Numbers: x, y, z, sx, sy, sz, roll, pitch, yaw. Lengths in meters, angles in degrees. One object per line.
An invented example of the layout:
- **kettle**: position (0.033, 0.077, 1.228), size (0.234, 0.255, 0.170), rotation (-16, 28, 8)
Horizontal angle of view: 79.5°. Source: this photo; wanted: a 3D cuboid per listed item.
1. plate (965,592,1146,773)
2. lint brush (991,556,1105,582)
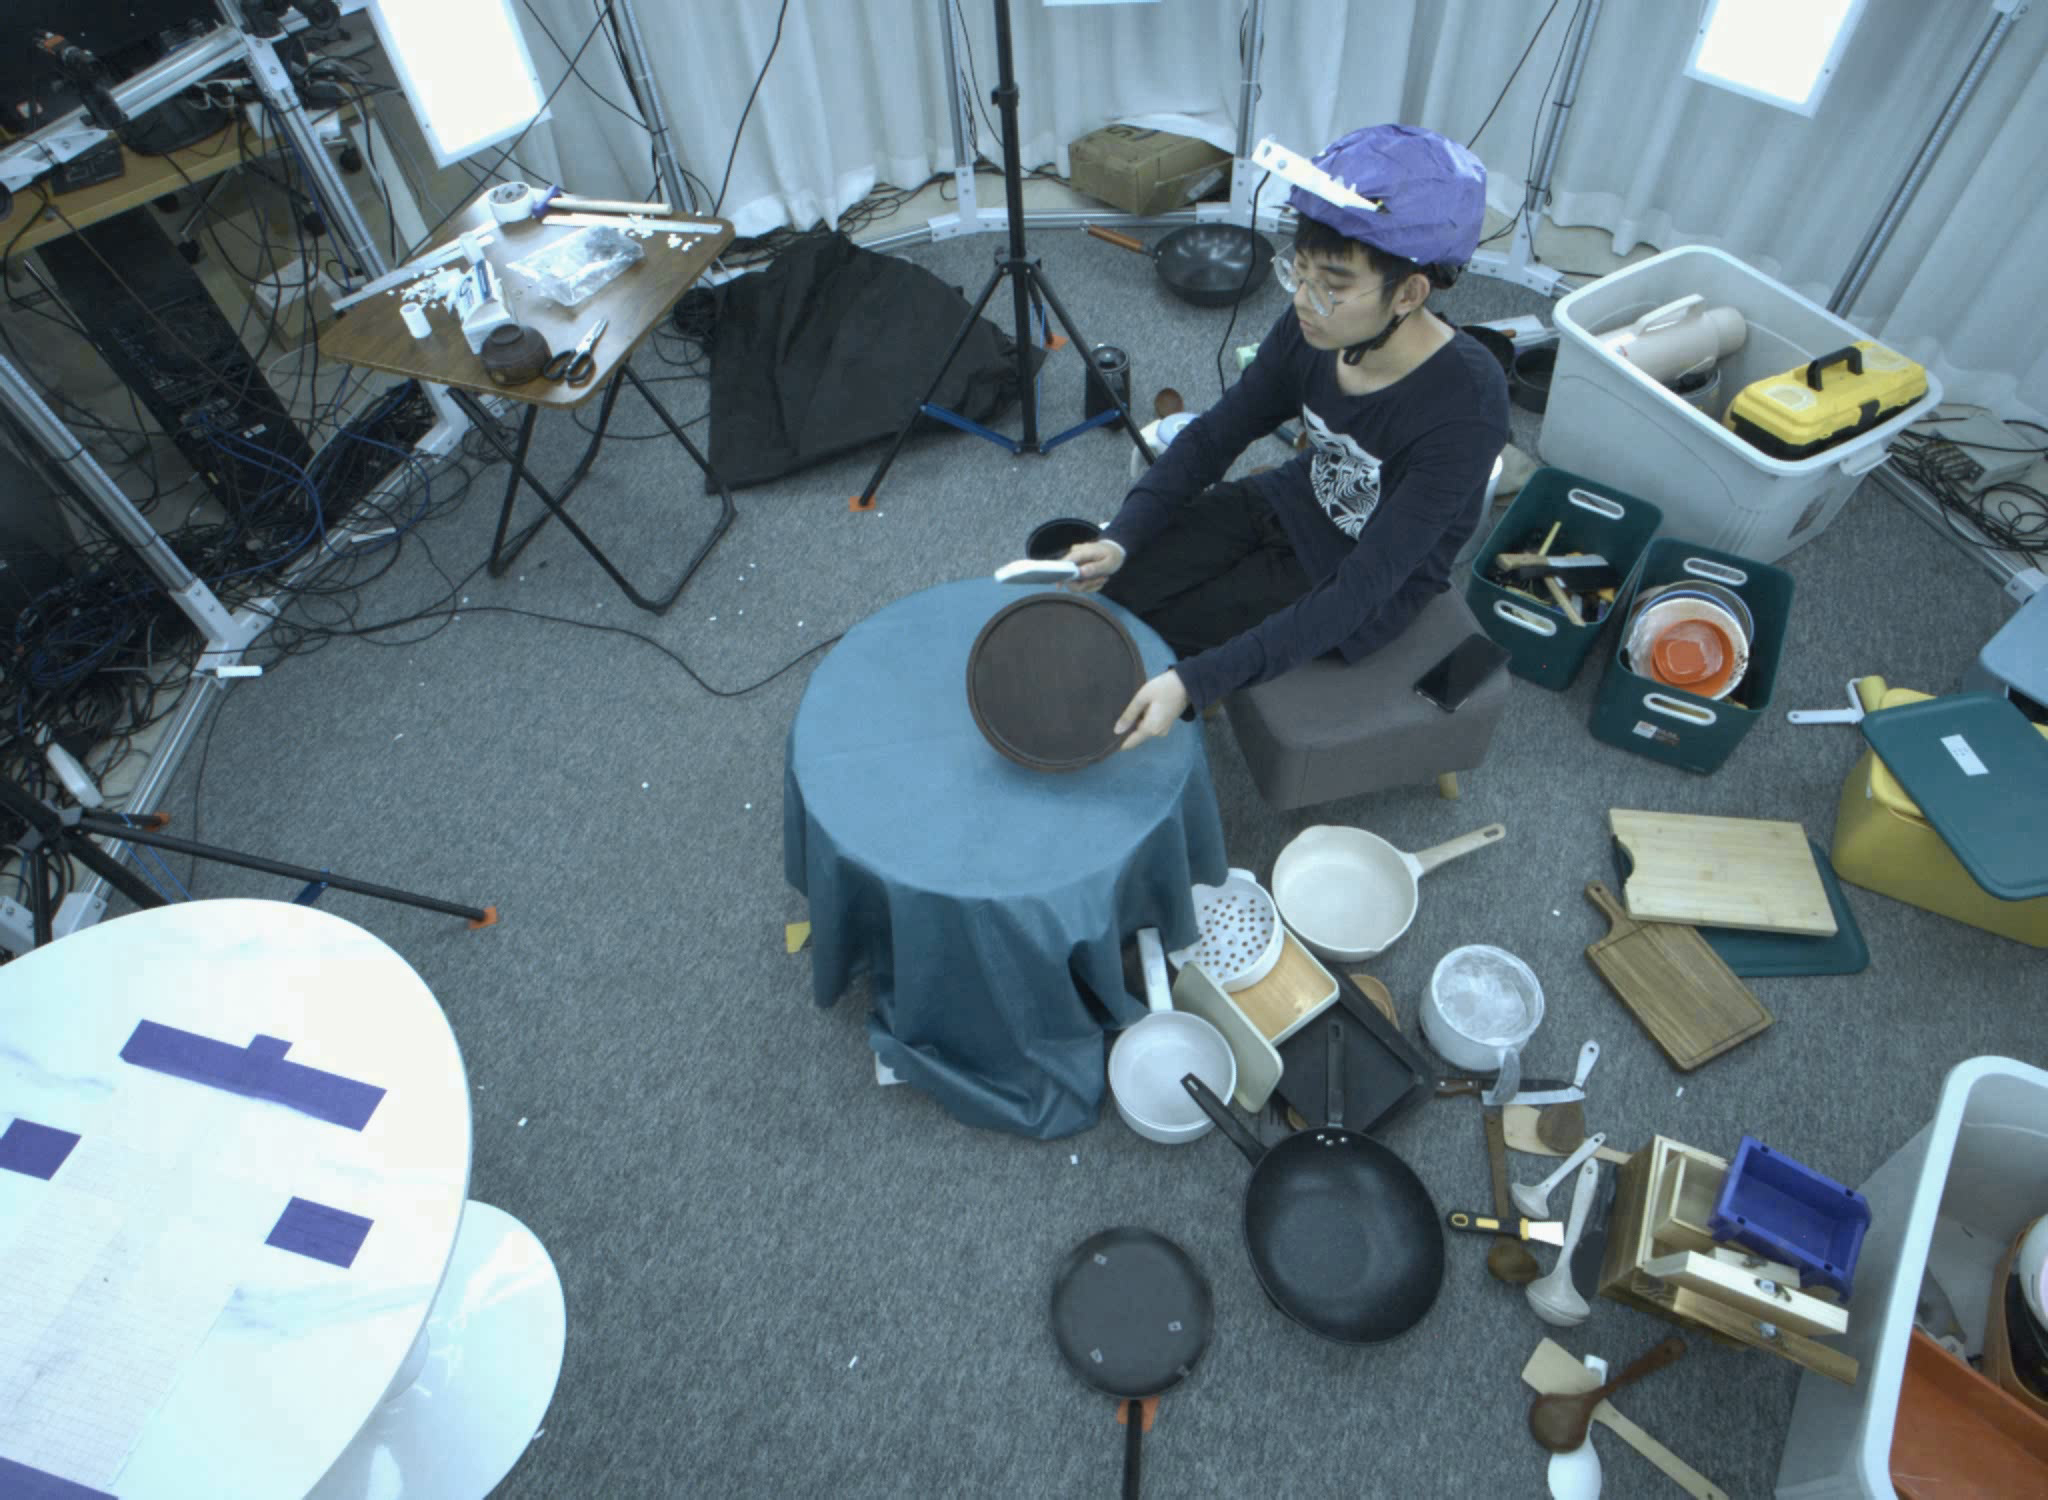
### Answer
- **plate**: position (0.044, -0.093, 1.712), size (0.253, 0.255, 0.029), rotation (8, 13, 7)
- **lint brush**: position (0.044, -0.260, 1.773), size (0.059, 0.313, 0.021), rotation (-24, 85, 29)
